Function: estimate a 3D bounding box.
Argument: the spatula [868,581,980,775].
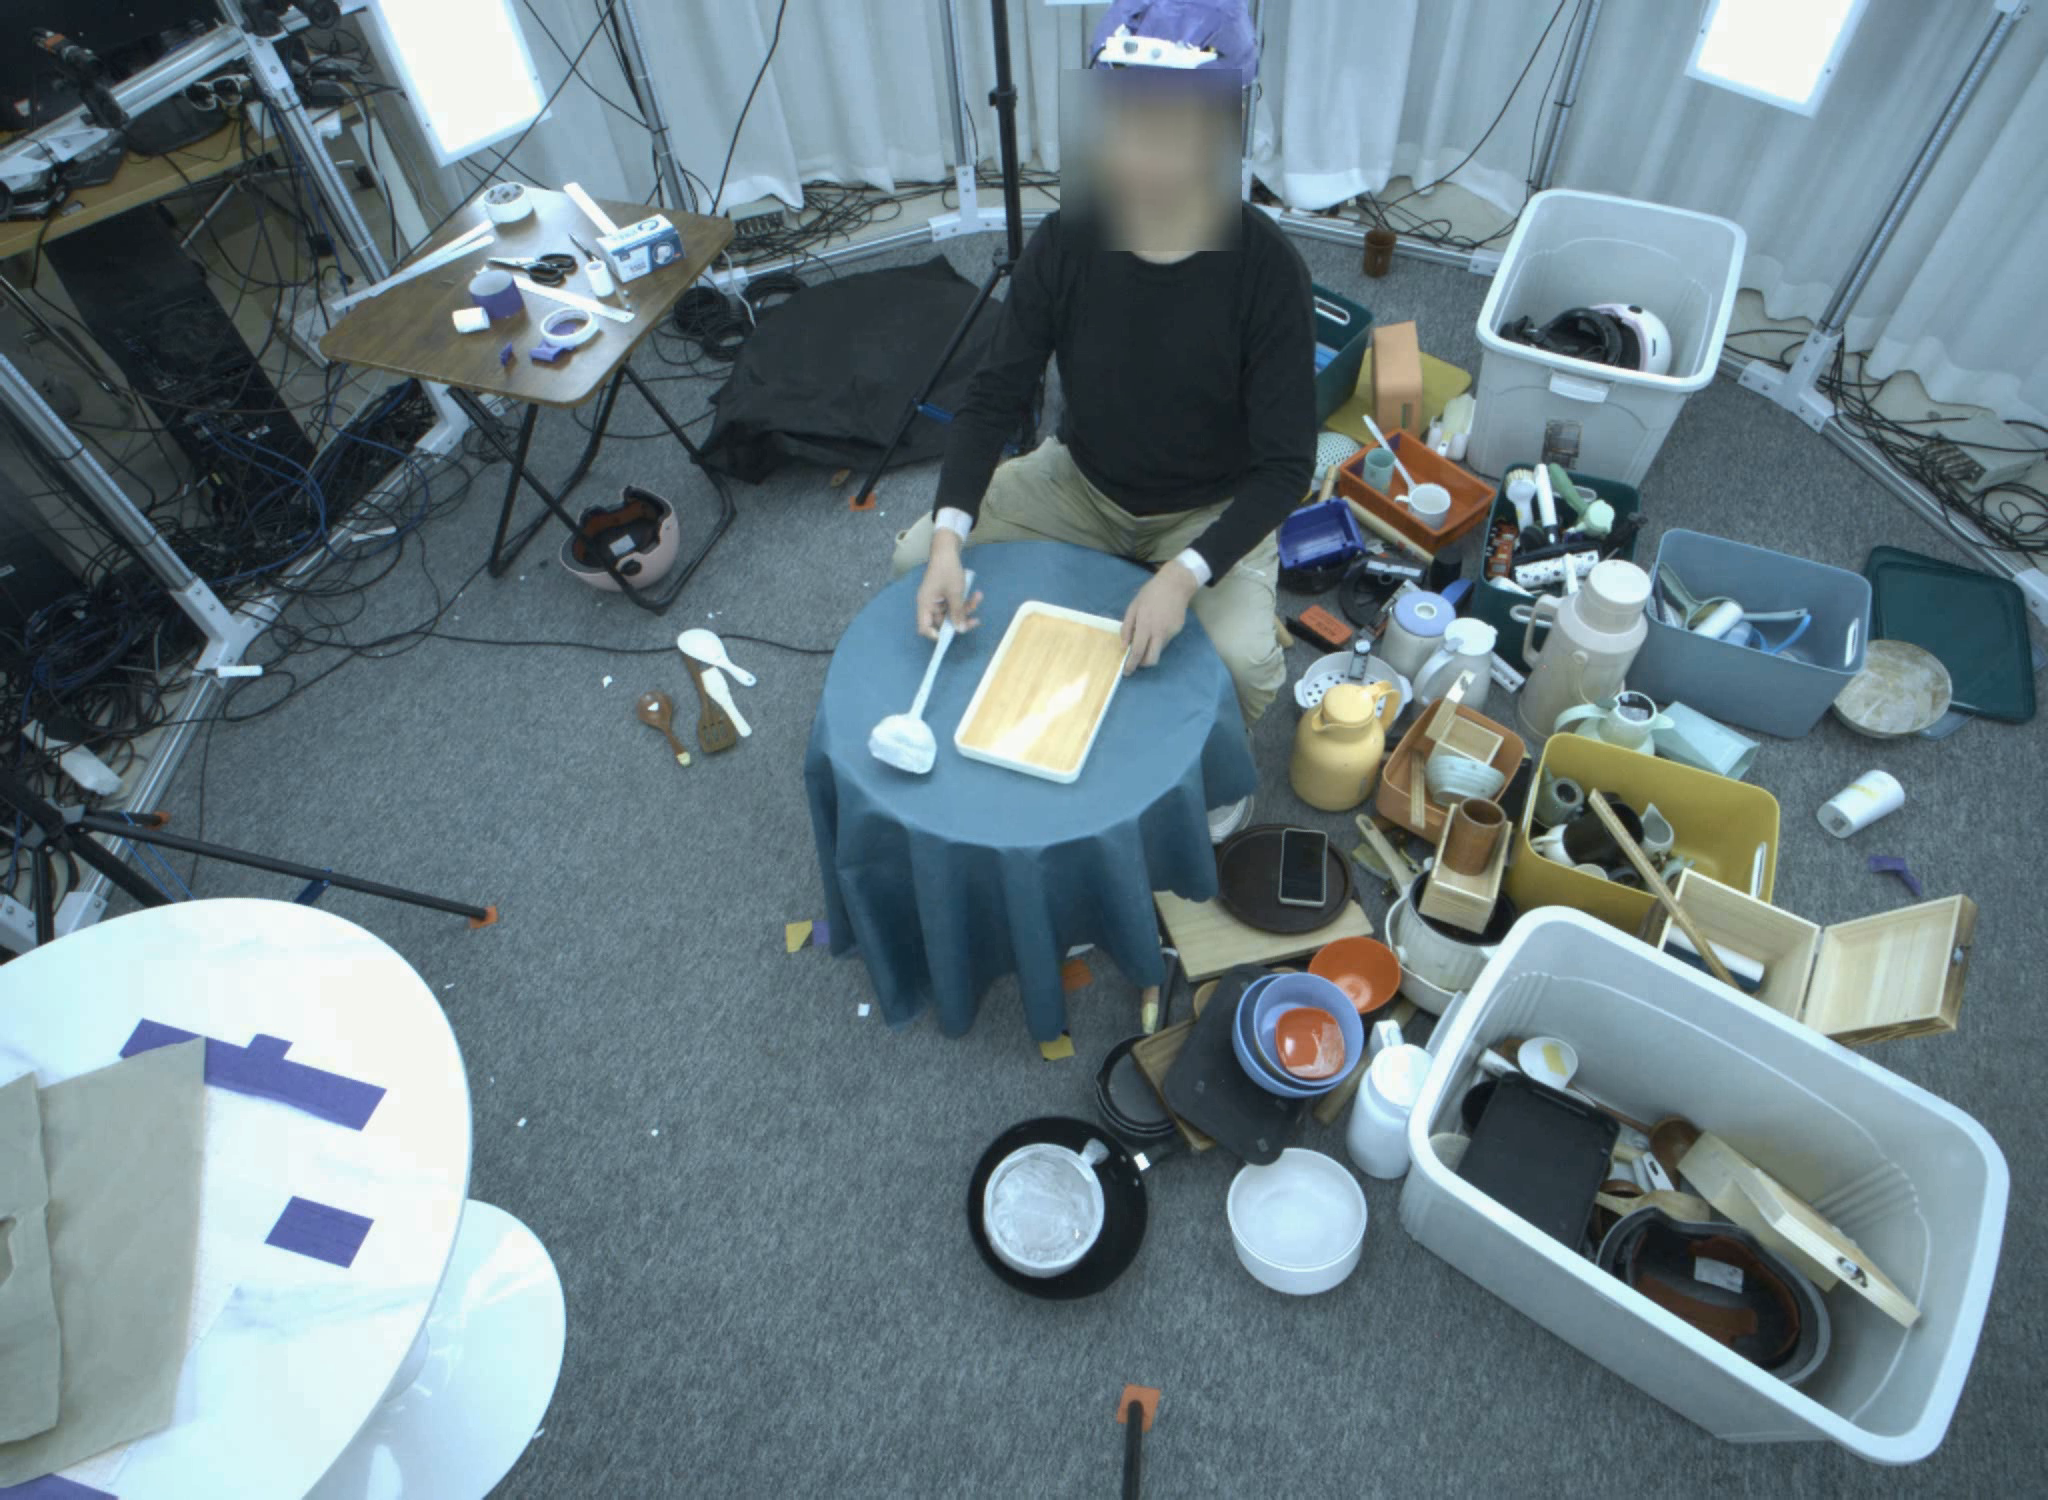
[{"bbox_3d":[-0.131,-0.122,1.828,0.099,0.044,0.364,24,65,-8],"label":"spatula"}]

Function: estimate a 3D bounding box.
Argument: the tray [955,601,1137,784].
[{"bbox_3d":[0.037,-0.093,1.835,0.190,0.028,0.300,16,57,13],"label":"tray"}]
